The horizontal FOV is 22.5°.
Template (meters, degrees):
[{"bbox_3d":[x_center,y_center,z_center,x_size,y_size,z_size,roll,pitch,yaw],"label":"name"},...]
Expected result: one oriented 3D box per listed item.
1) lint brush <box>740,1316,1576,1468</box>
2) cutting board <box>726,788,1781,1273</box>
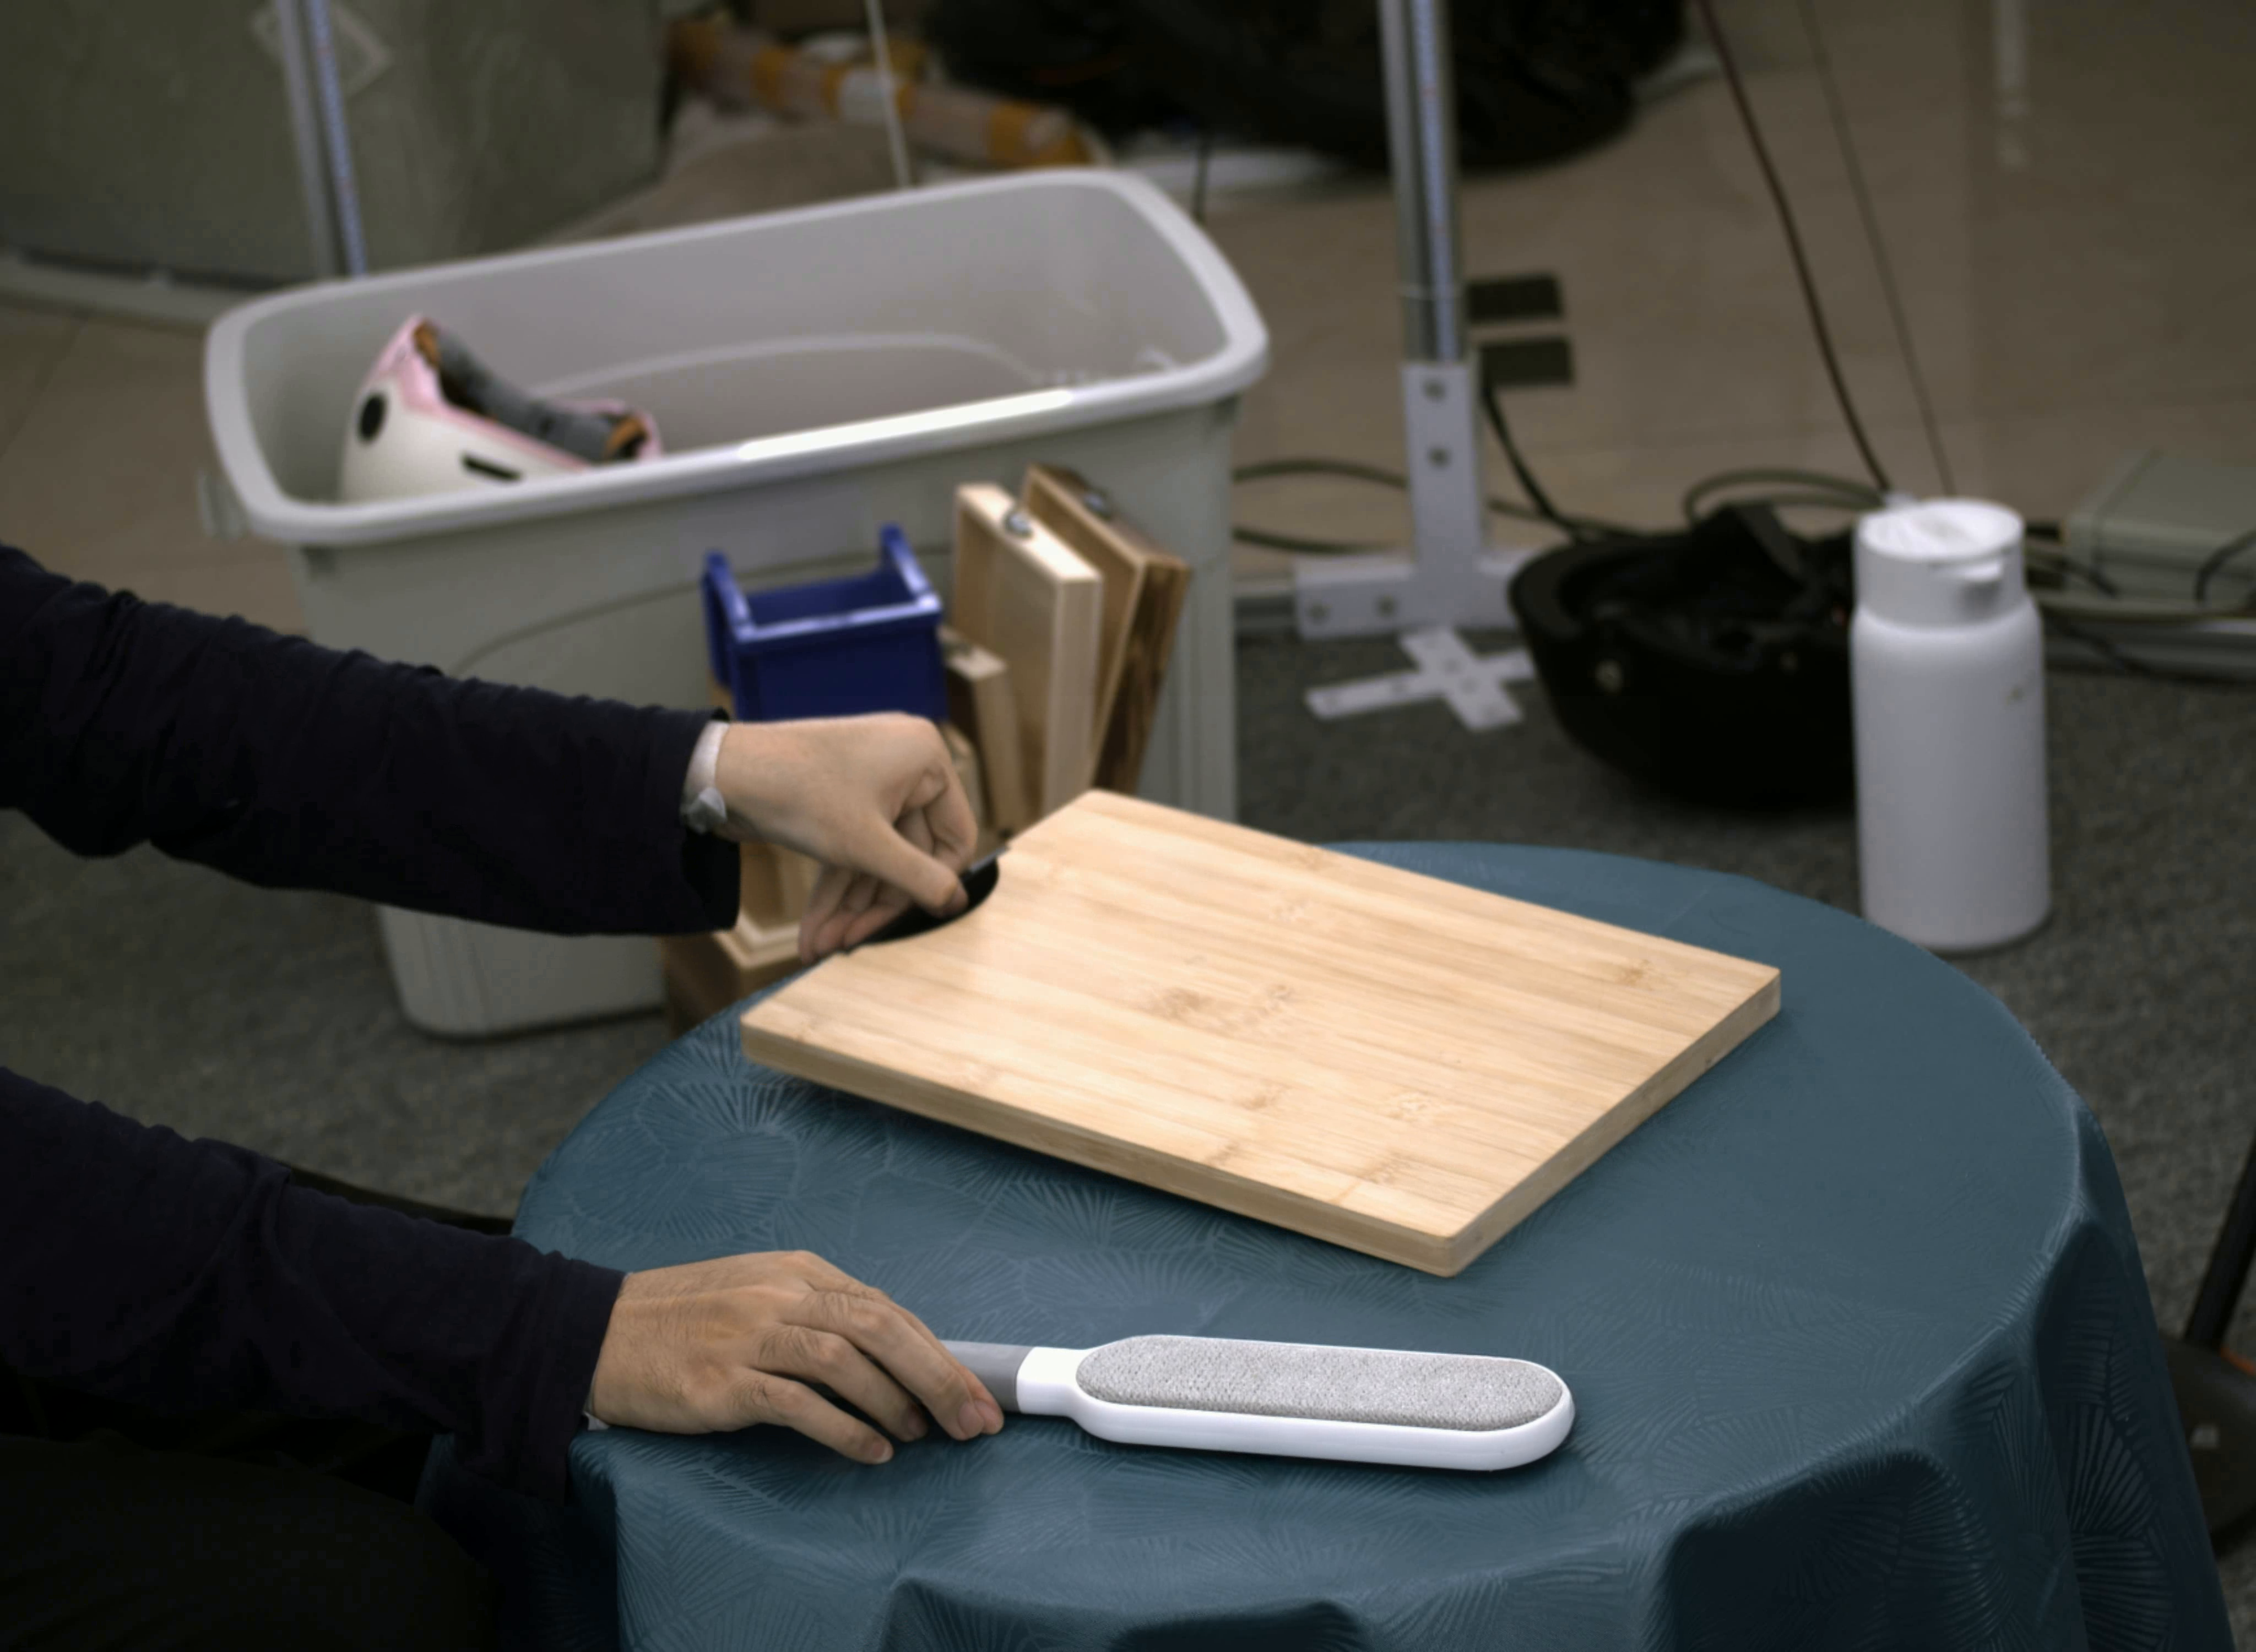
[{"bbox_3d":[0.006,0.194,1.997,0.308,0.021,0.059,3,30,19],"label":"lint brush"},{"bbox_3d":[0.048,0.075,2.240,0.346,0.024,0.248,14,31,33],"label":"cutting board"}]
